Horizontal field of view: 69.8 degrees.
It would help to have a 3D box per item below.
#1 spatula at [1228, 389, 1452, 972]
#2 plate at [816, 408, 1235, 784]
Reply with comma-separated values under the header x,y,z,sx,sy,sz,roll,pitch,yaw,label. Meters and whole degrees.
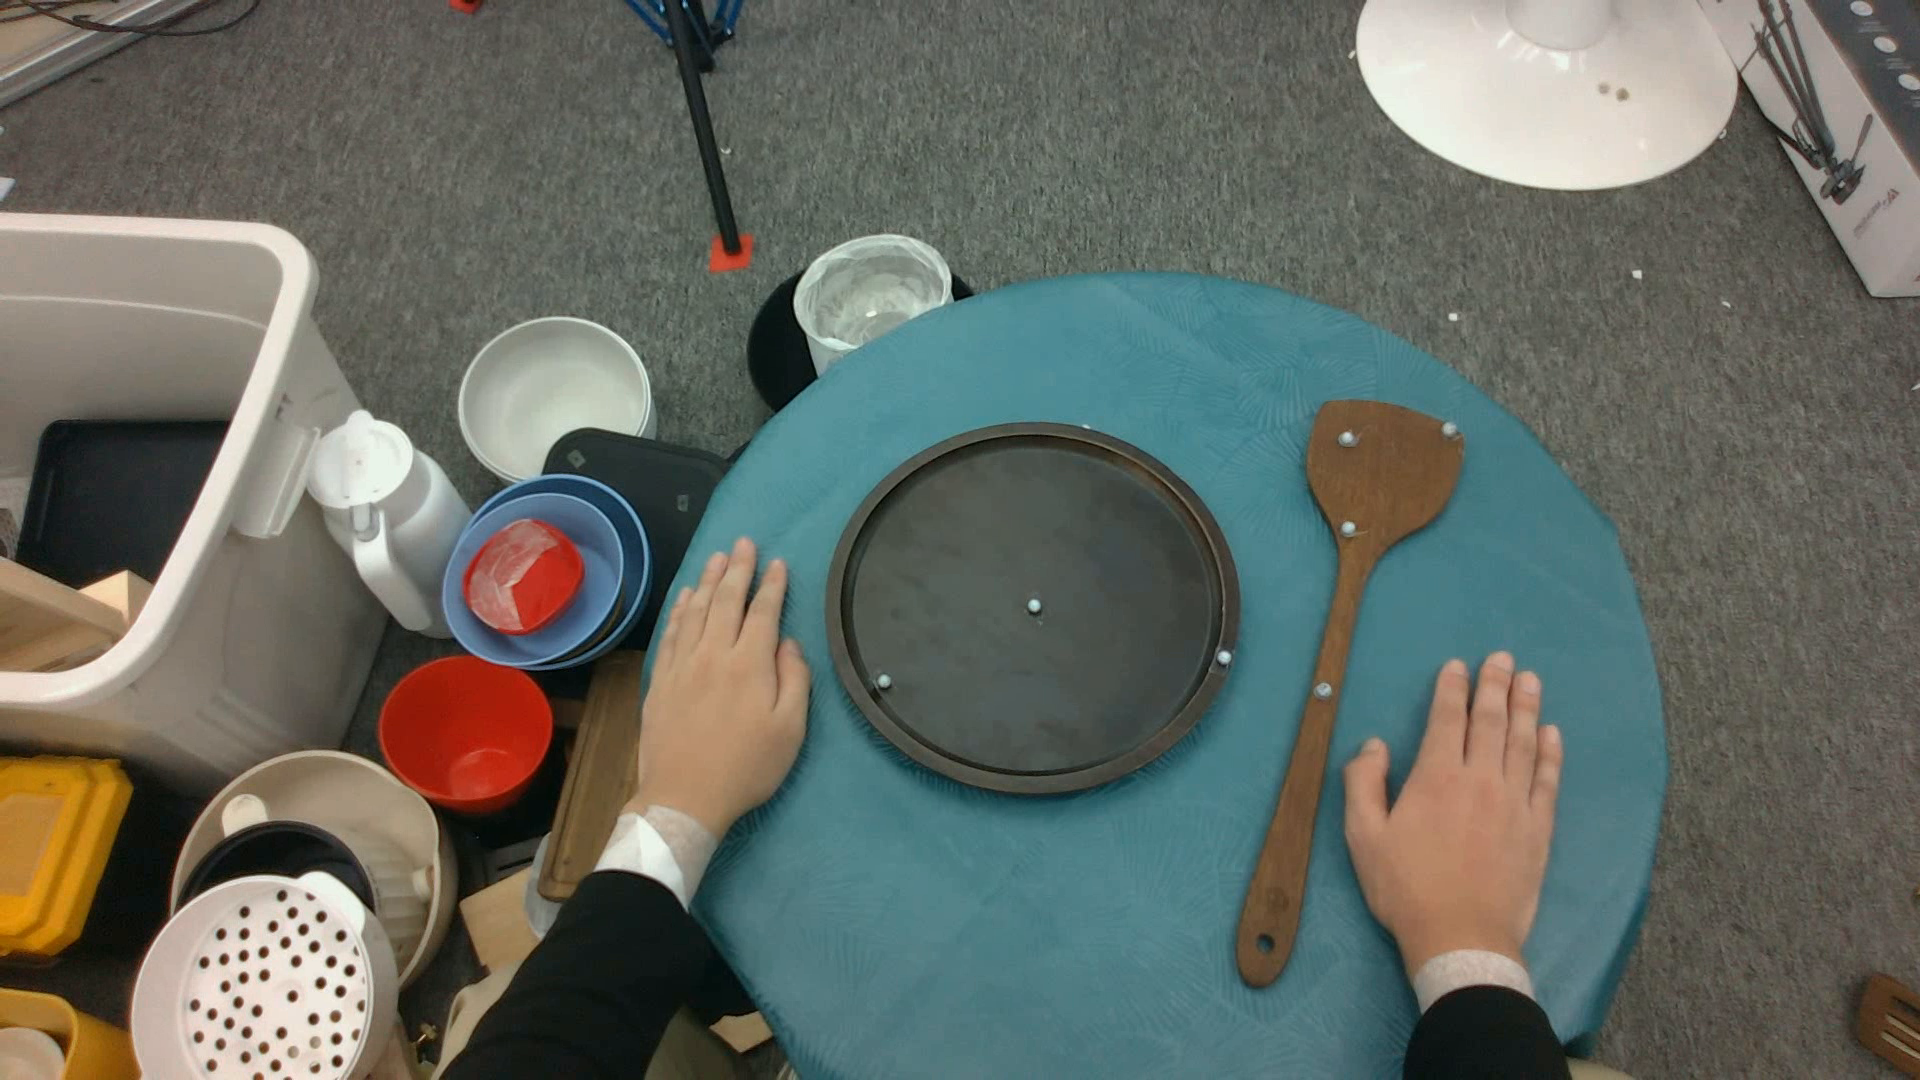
x,y,z,sx,sy,sz,roll,pitch,yaw,label
0.215,0.066,0.816,0.096,0.016,0.387,15,62,11,spatula
0.039,0.028,0.839,0.255,0.029,0.256,0,61,1,plate
